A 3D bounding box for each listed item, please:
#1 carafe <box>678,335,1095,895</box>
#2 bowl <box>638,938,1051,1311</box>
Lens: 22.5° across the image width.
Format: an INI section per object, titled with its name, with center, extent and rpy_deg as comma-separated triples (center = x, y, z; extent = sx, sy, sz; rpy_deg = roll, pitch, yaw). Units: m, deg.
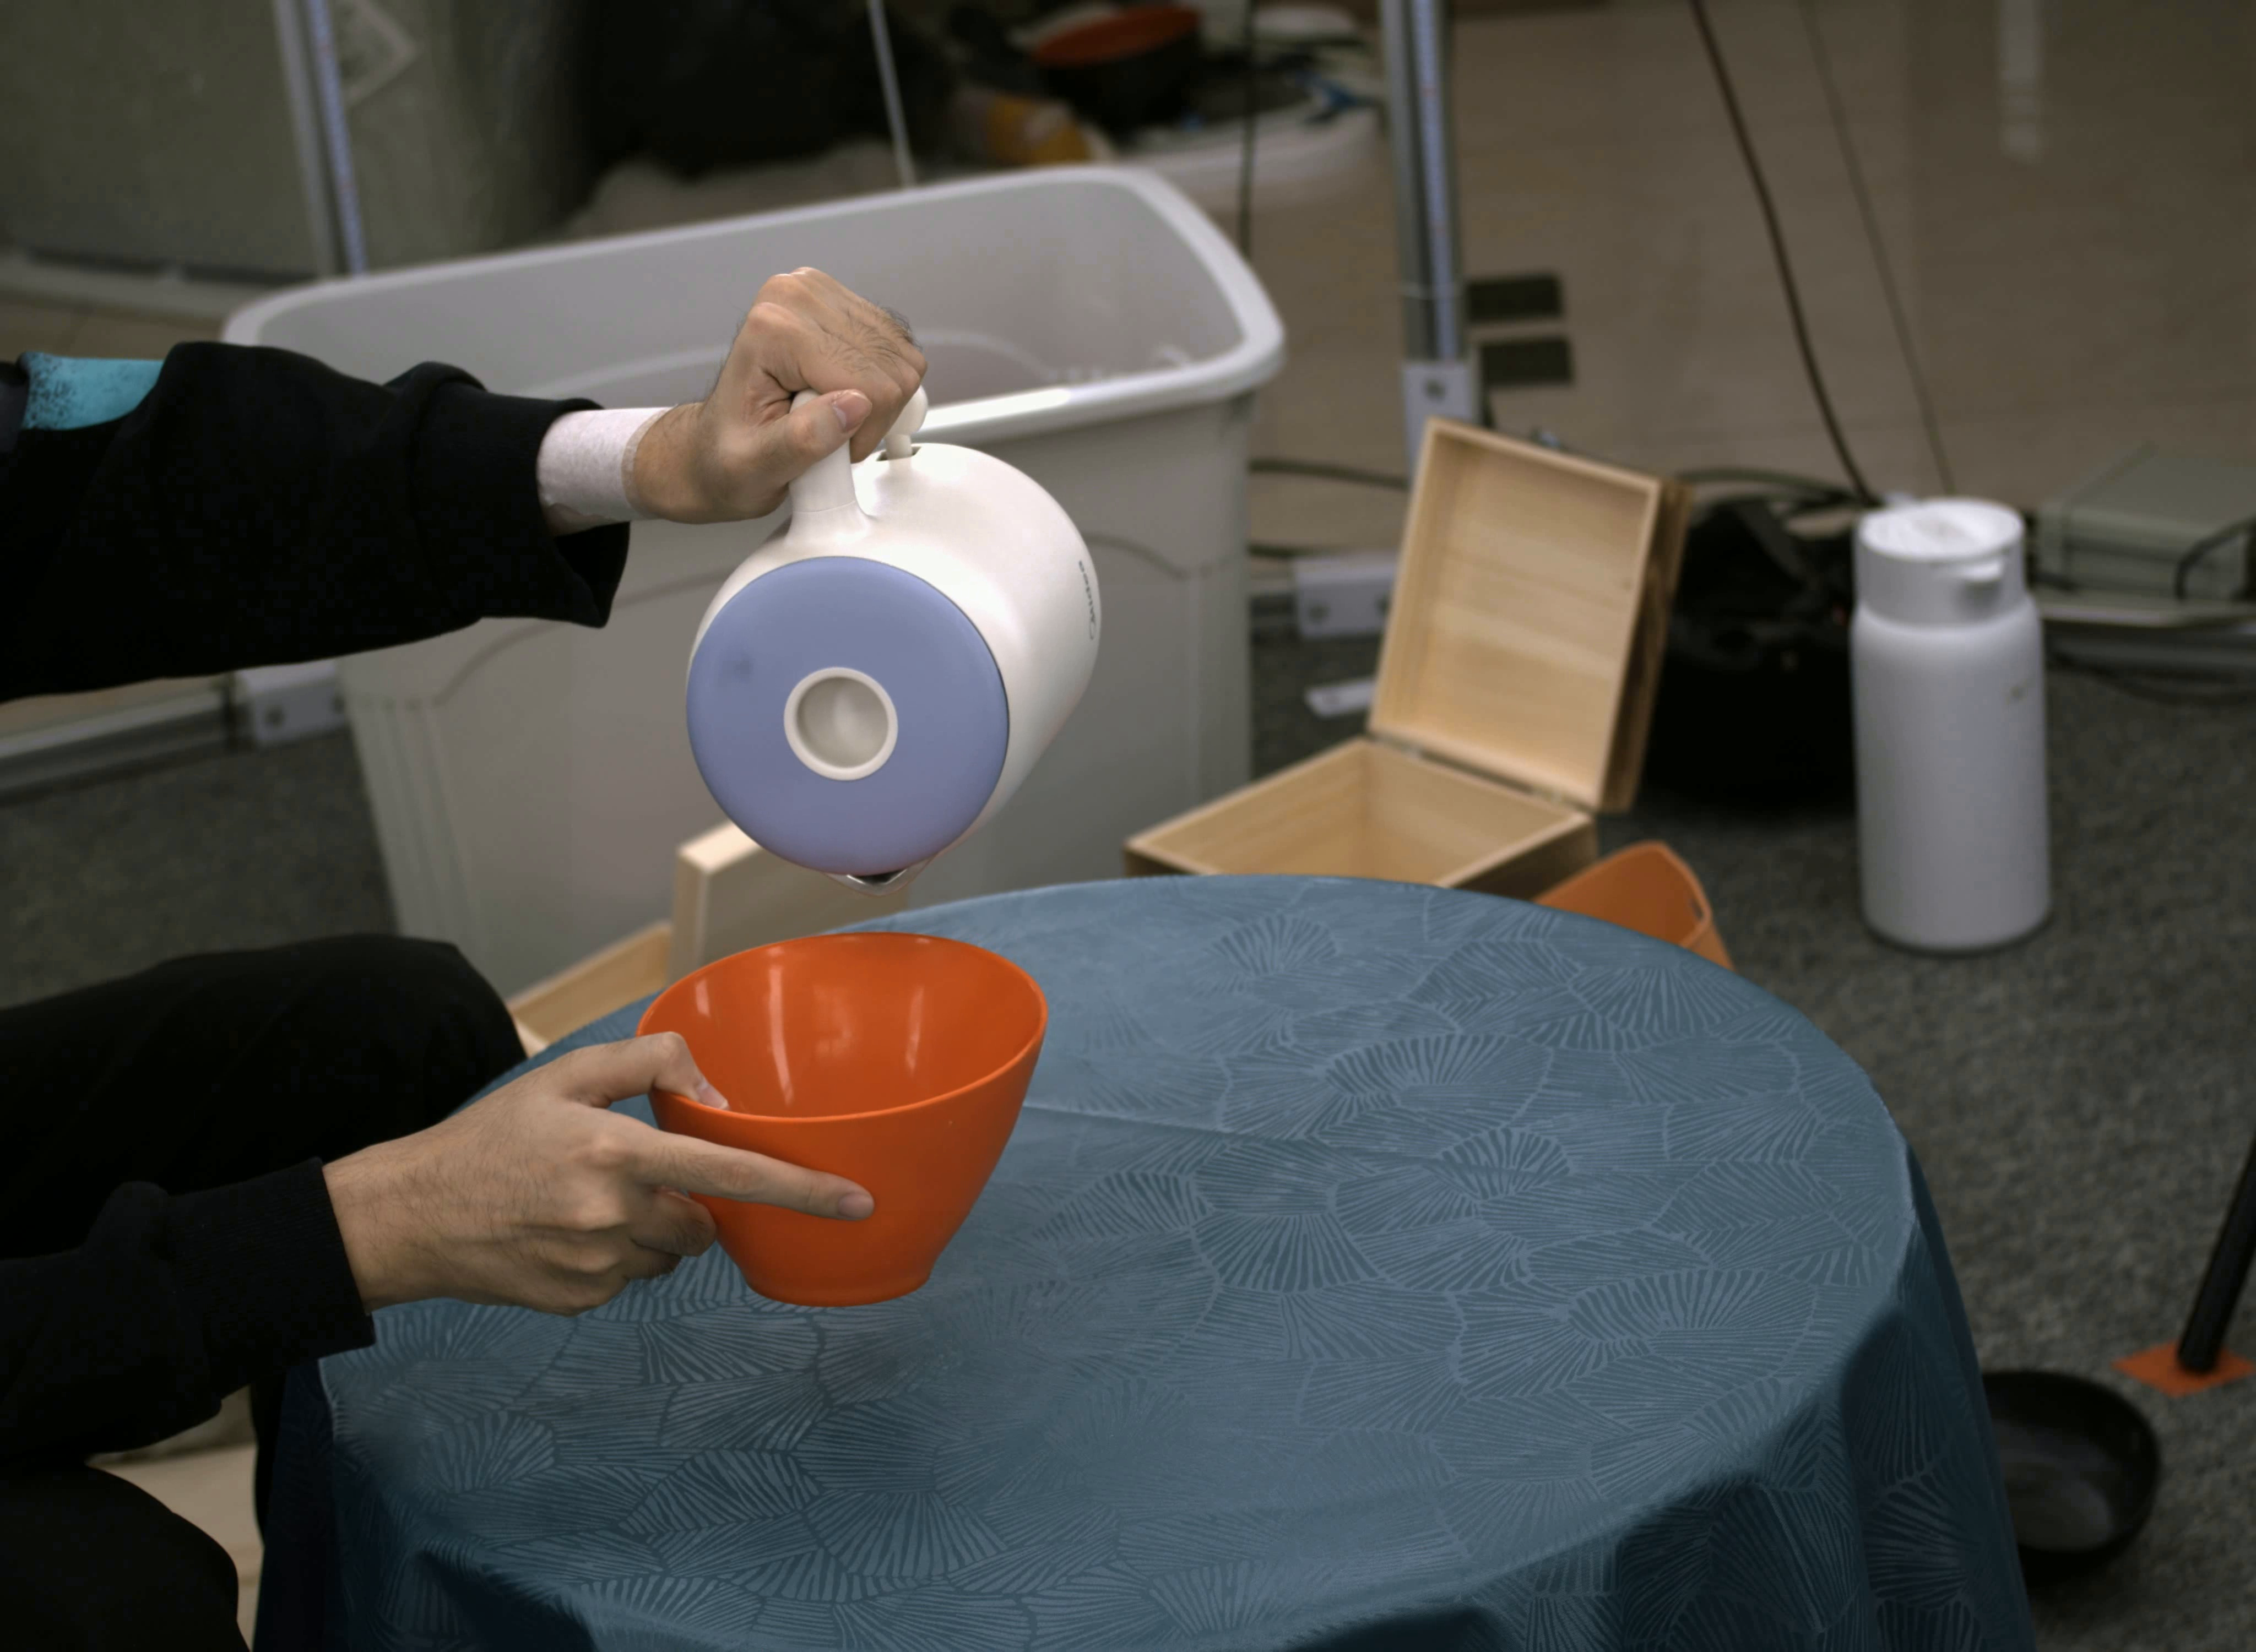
[carafe]
center = -0.094, -0.085, 2.092
extent = 0.132, 0.193, 0.181
rpy_deg = -9, 13, 12
[bowl]
center = -0.100, 0.110, 2.028
extent = 0.148, 0.106, 0.146
rpy_deg = -1, 16, 0
